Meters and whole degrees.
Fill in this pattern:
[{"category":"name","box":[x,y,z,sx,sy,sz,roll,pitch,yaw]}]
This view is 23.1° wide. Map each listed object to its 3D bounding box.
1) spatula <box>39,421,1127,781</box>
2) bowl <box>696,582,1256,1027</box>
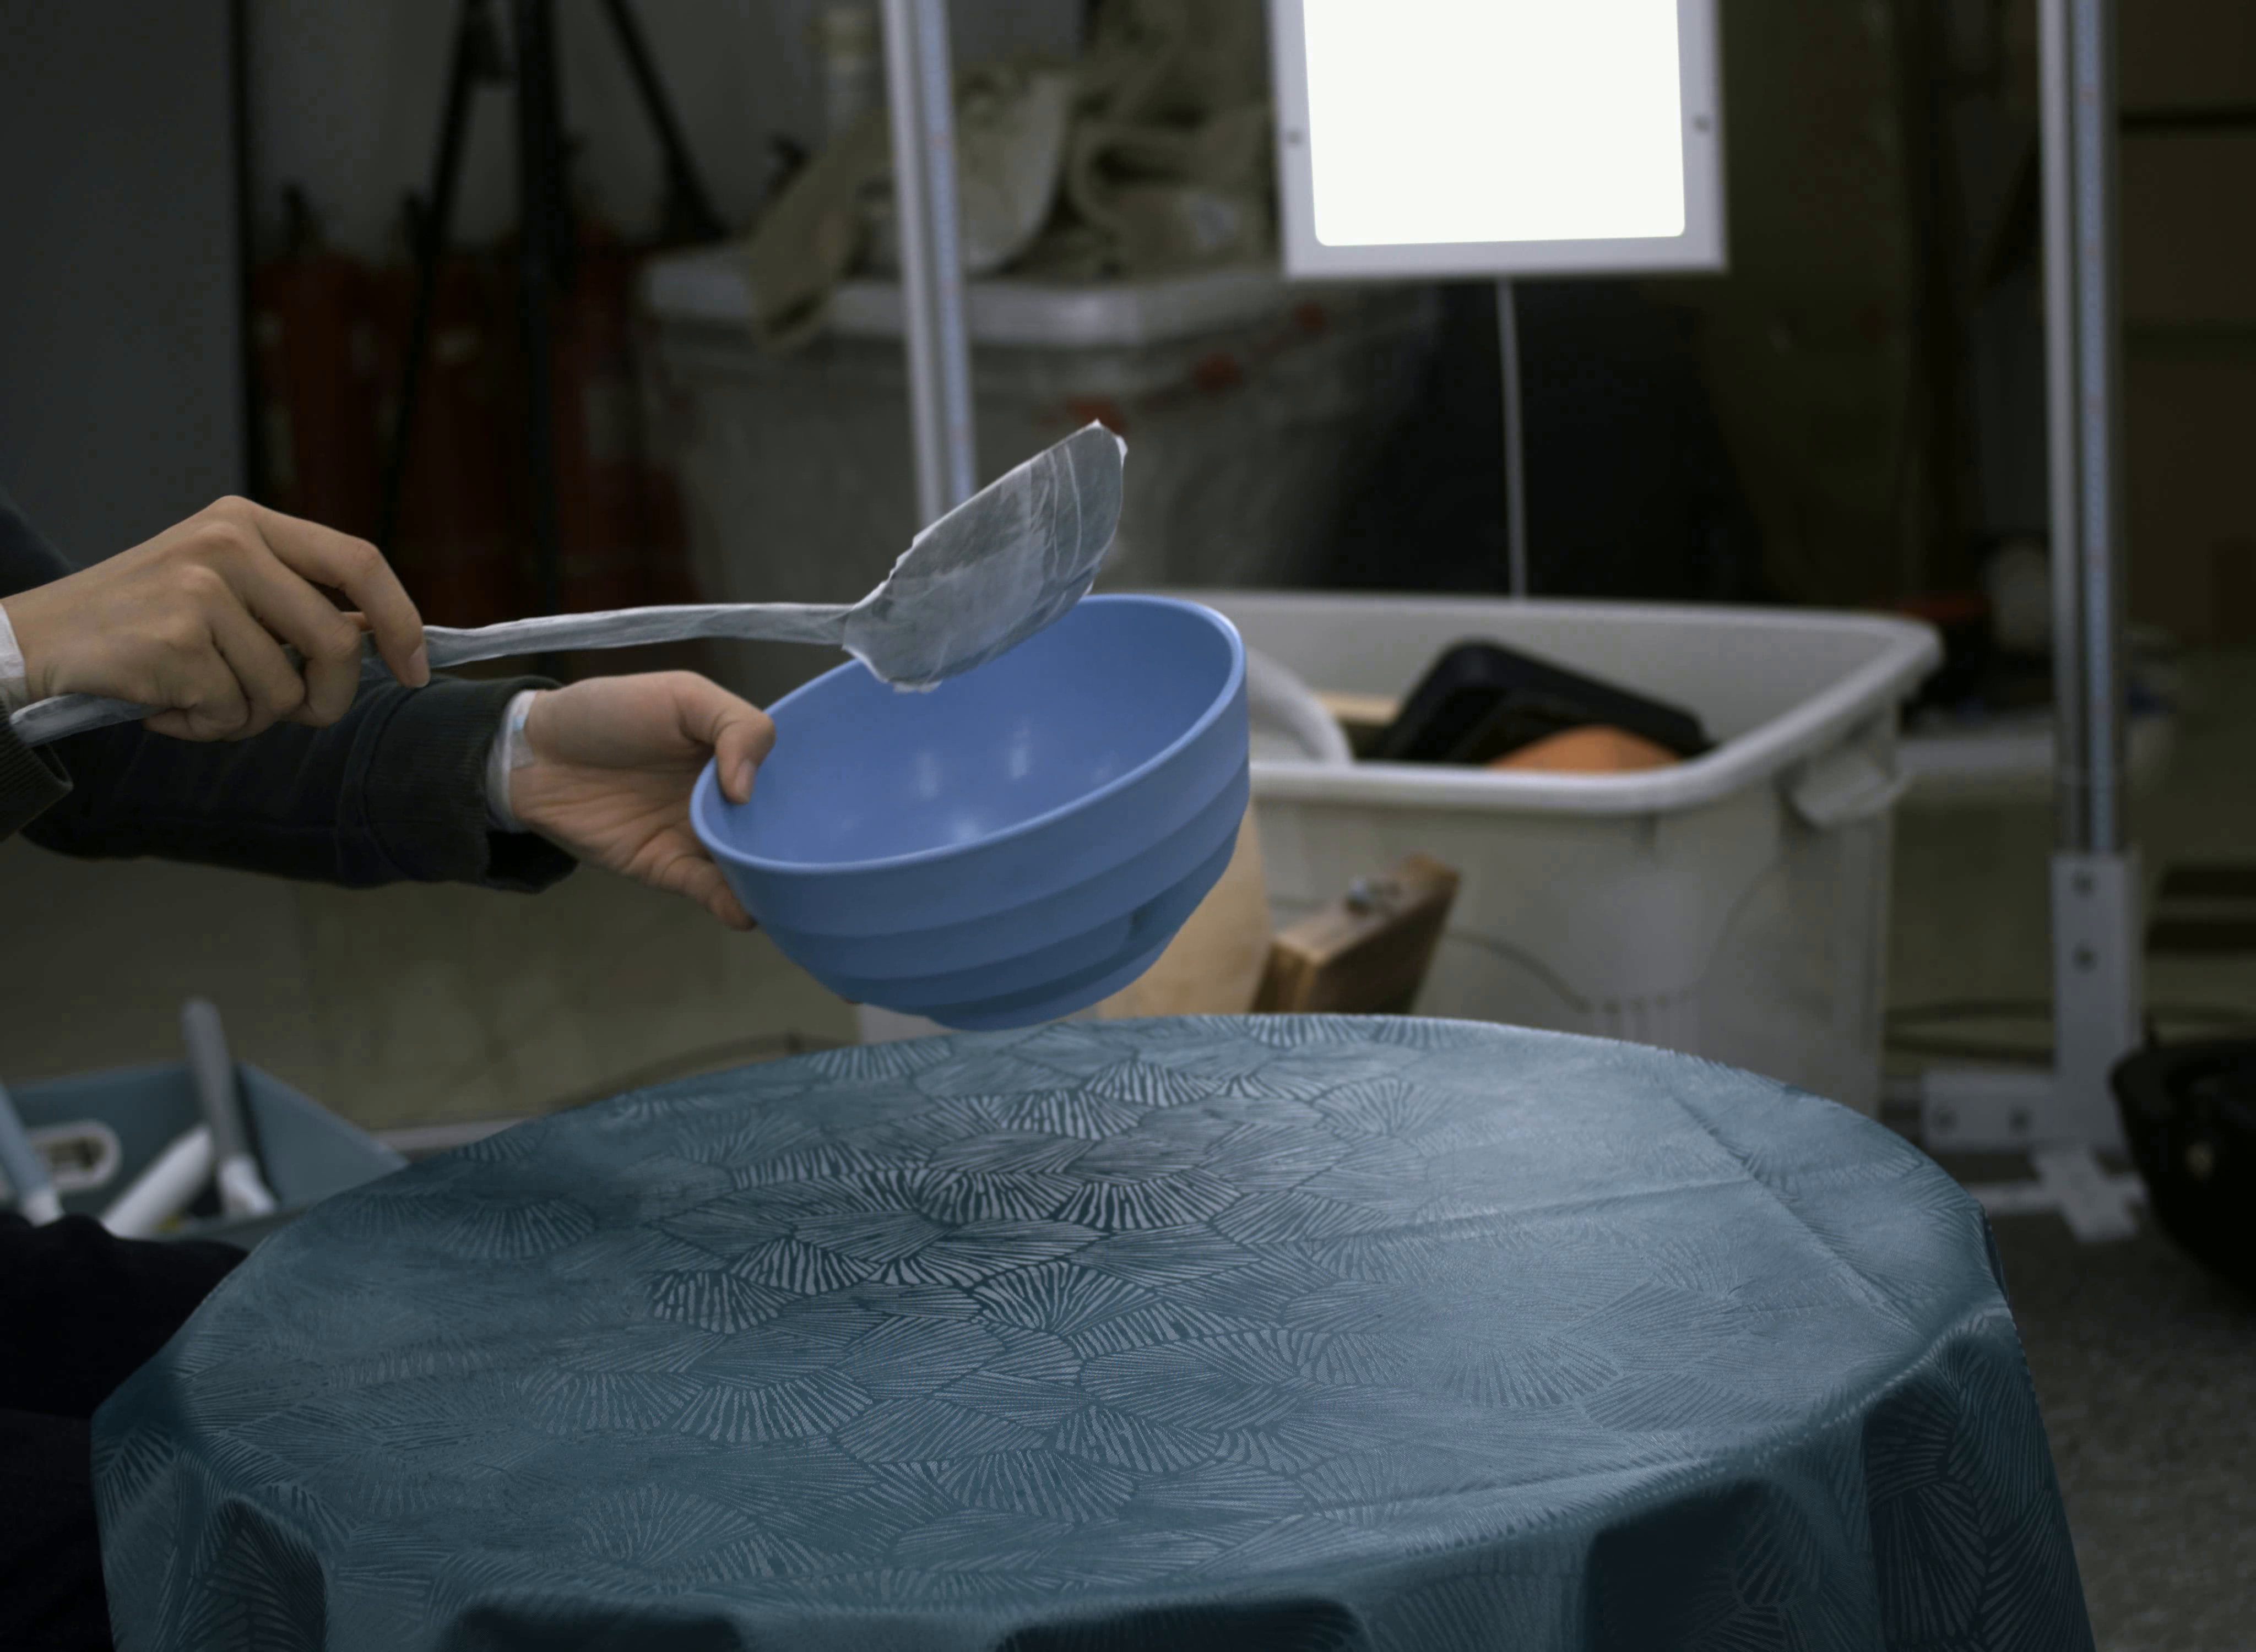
[{"category":"spatula","box":[-0.167,-0.063,1.748,0.359,0.099,0.045,-8,54,-15]},{"category":"bowl","box":[-0.041,0.005,1.873,0.197,0.095,0.196,-16,25,6]}]
